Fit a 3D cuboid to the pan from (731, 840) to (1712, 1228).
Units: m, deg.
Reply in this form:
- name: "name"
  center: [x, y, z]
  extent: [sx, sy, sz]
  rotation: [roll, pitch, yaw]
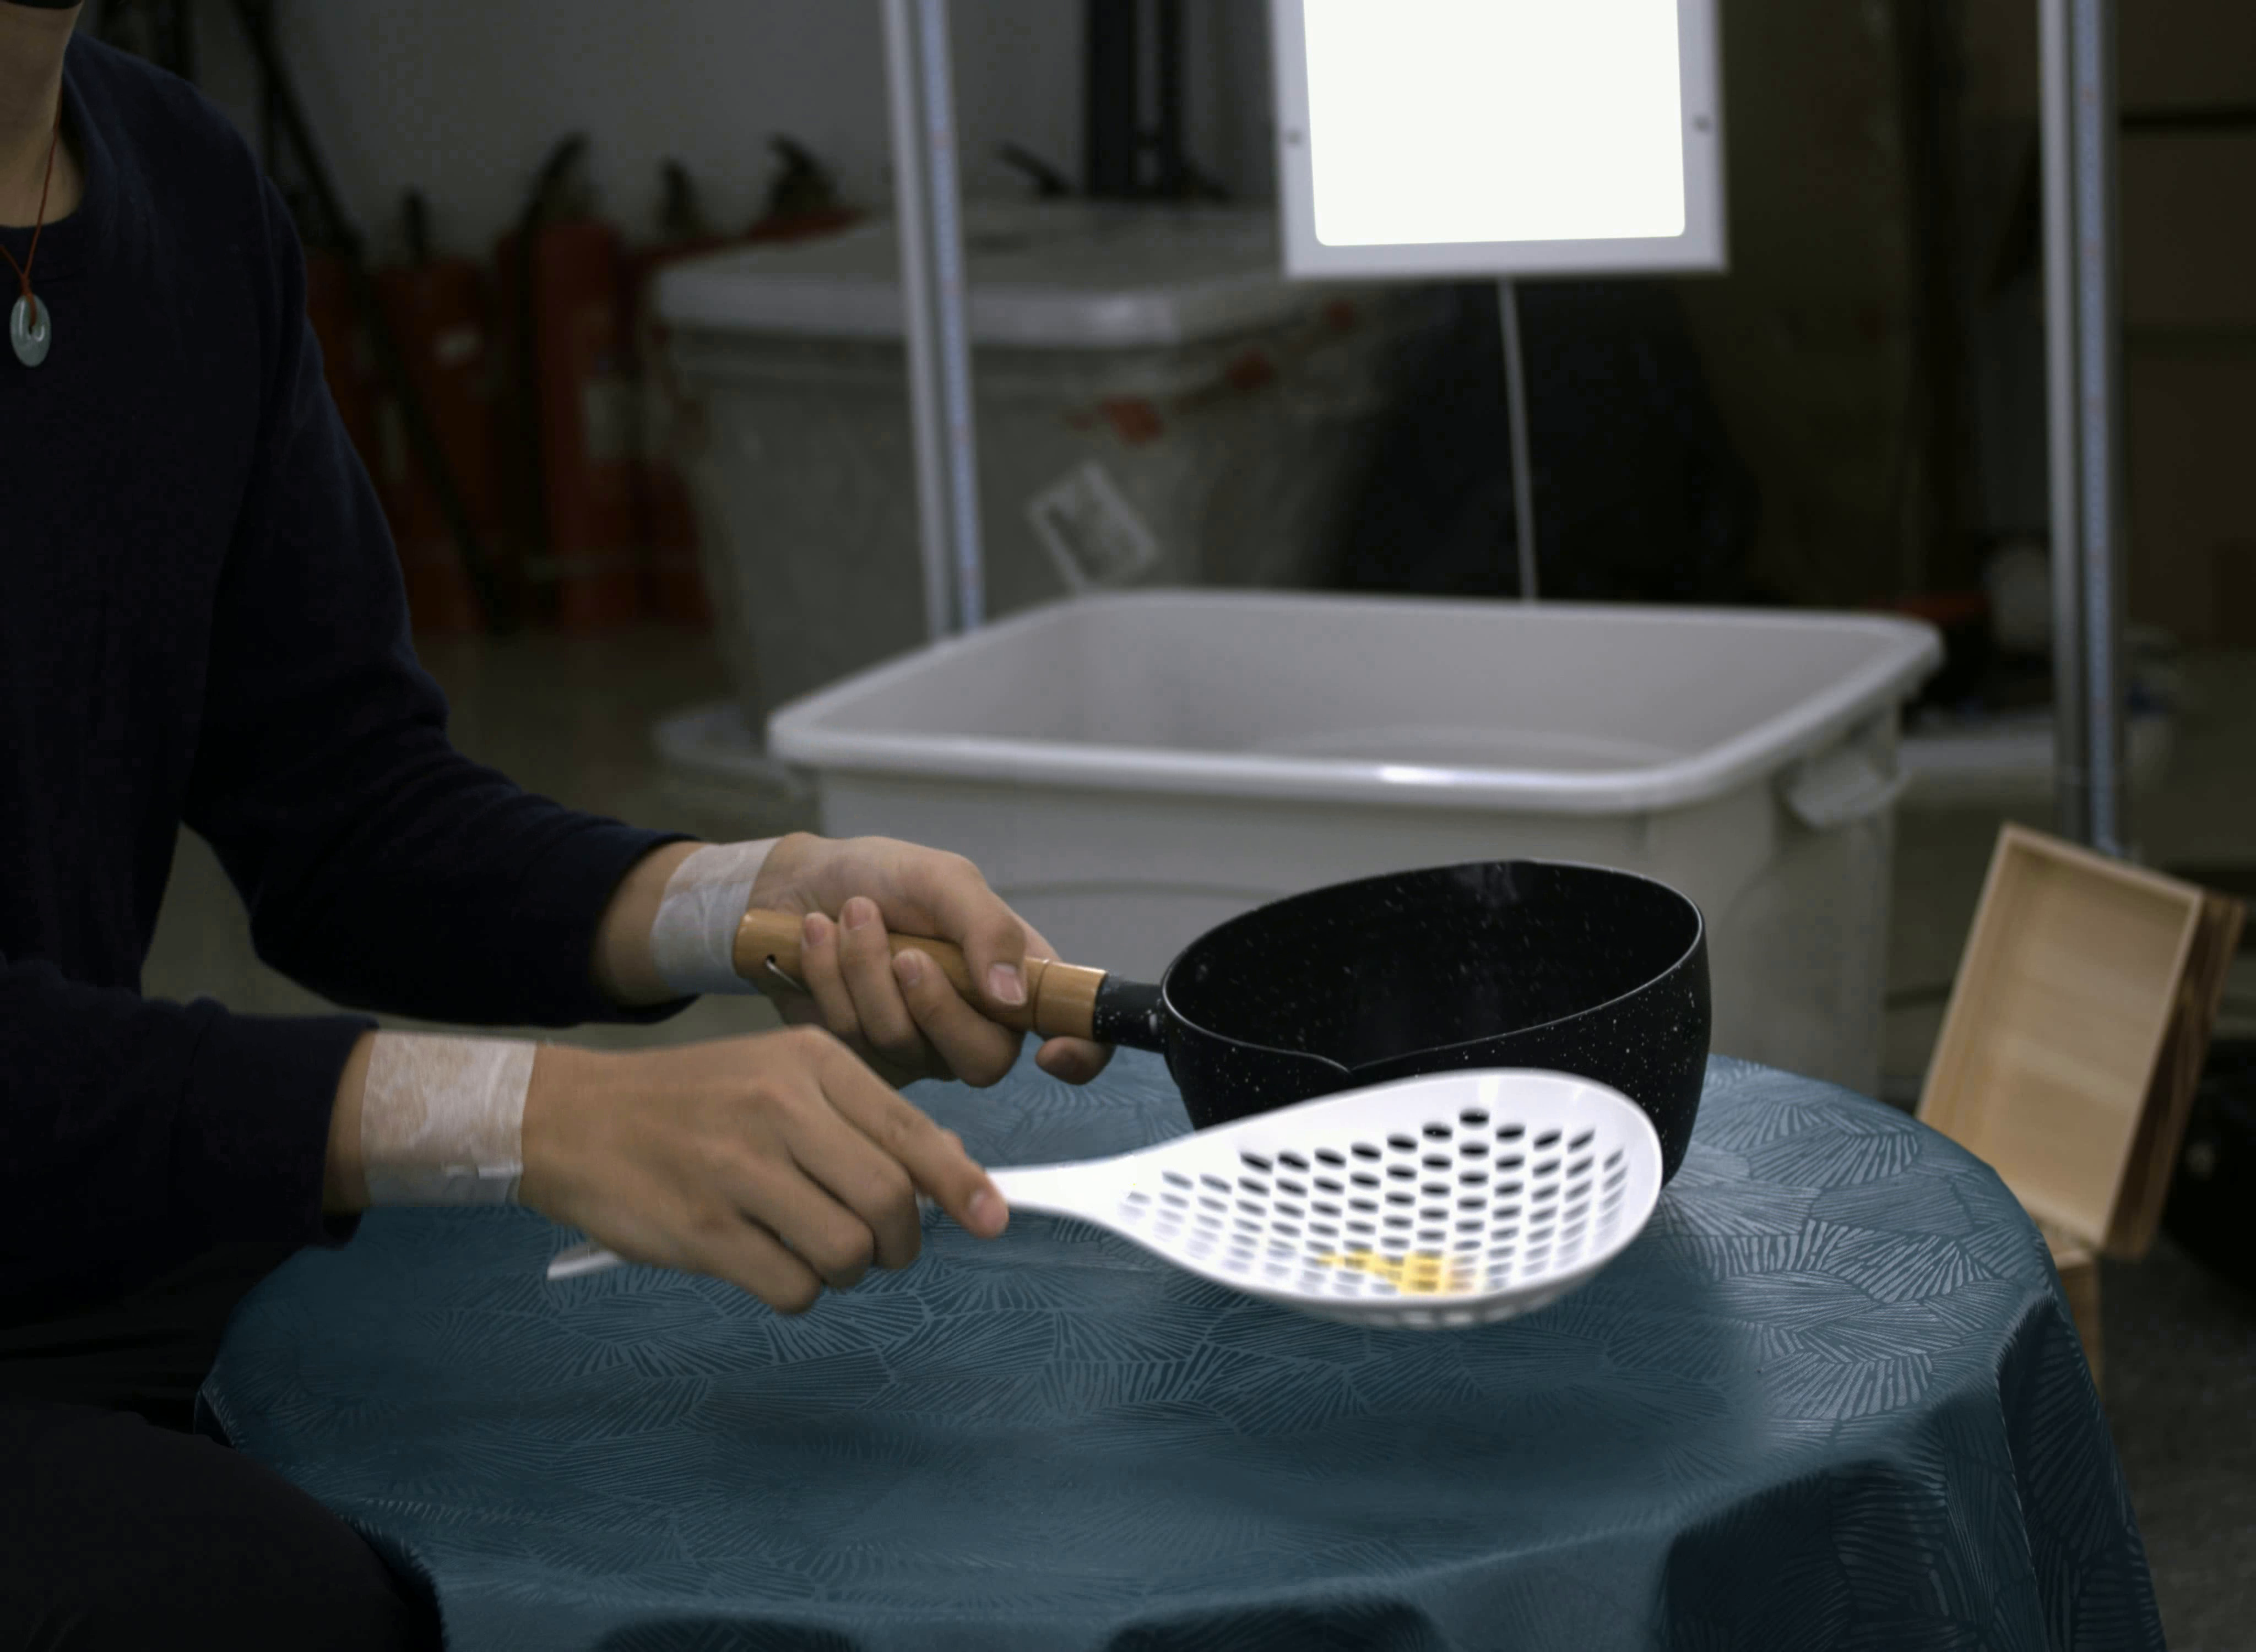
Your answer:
- name: "pan"
  center: [0.030, 0.074, 1.867]
  extent: [0.347, 0.108, 0.204]
  rotation: [-2, 20, 19]

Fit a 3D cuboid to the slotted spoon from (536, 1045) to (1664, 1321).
- name: "slotted spoon"
  center: [-0.011, 0.116, 1.659]
  extent: [0.350, 0.050, 0.135]
  rotation: [1, 28, 13]
